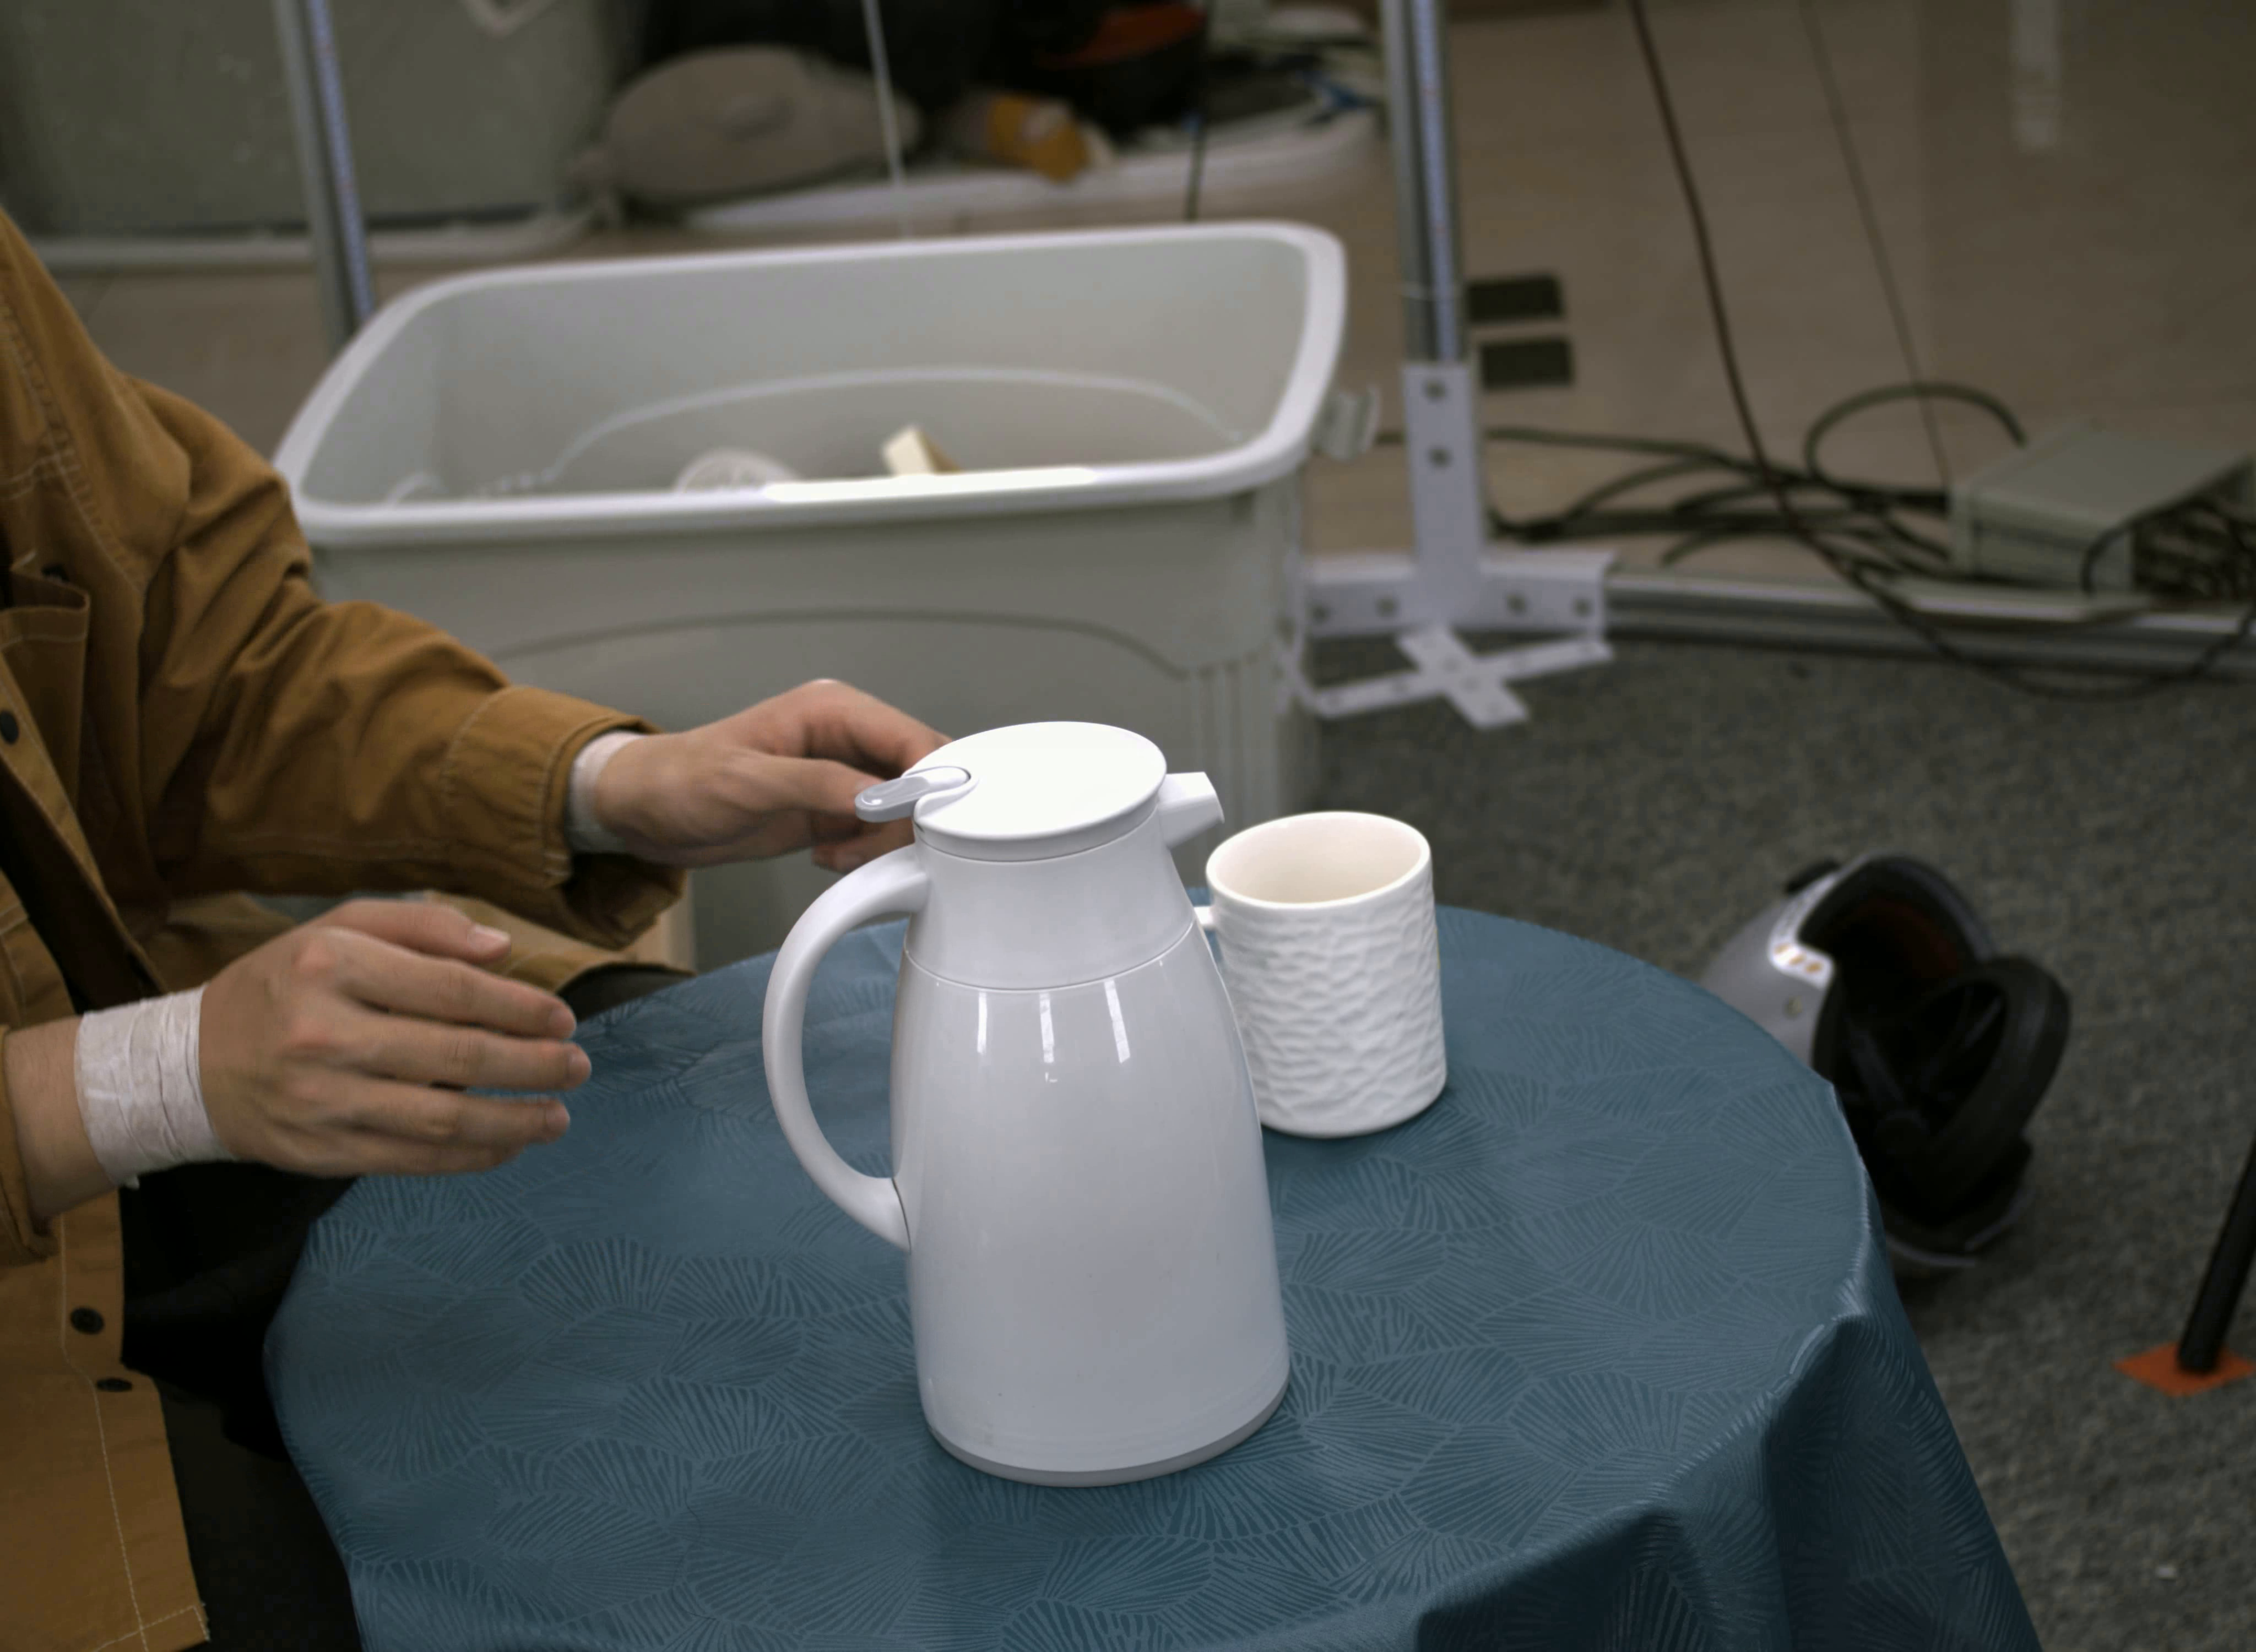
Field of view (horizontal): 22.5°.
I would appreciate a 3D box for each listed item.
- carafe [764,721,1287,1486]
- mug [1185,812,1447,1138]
[{"bbox_3d":[-0.039,0.093,1.960,0.167,0.253,0.130,-11,27,-9],"label":"carafe"},{"bbox_3d":[0.062,0.060,2.181,0.118,0.103,0.084,-8,25,-2],"label":"mug"}]
